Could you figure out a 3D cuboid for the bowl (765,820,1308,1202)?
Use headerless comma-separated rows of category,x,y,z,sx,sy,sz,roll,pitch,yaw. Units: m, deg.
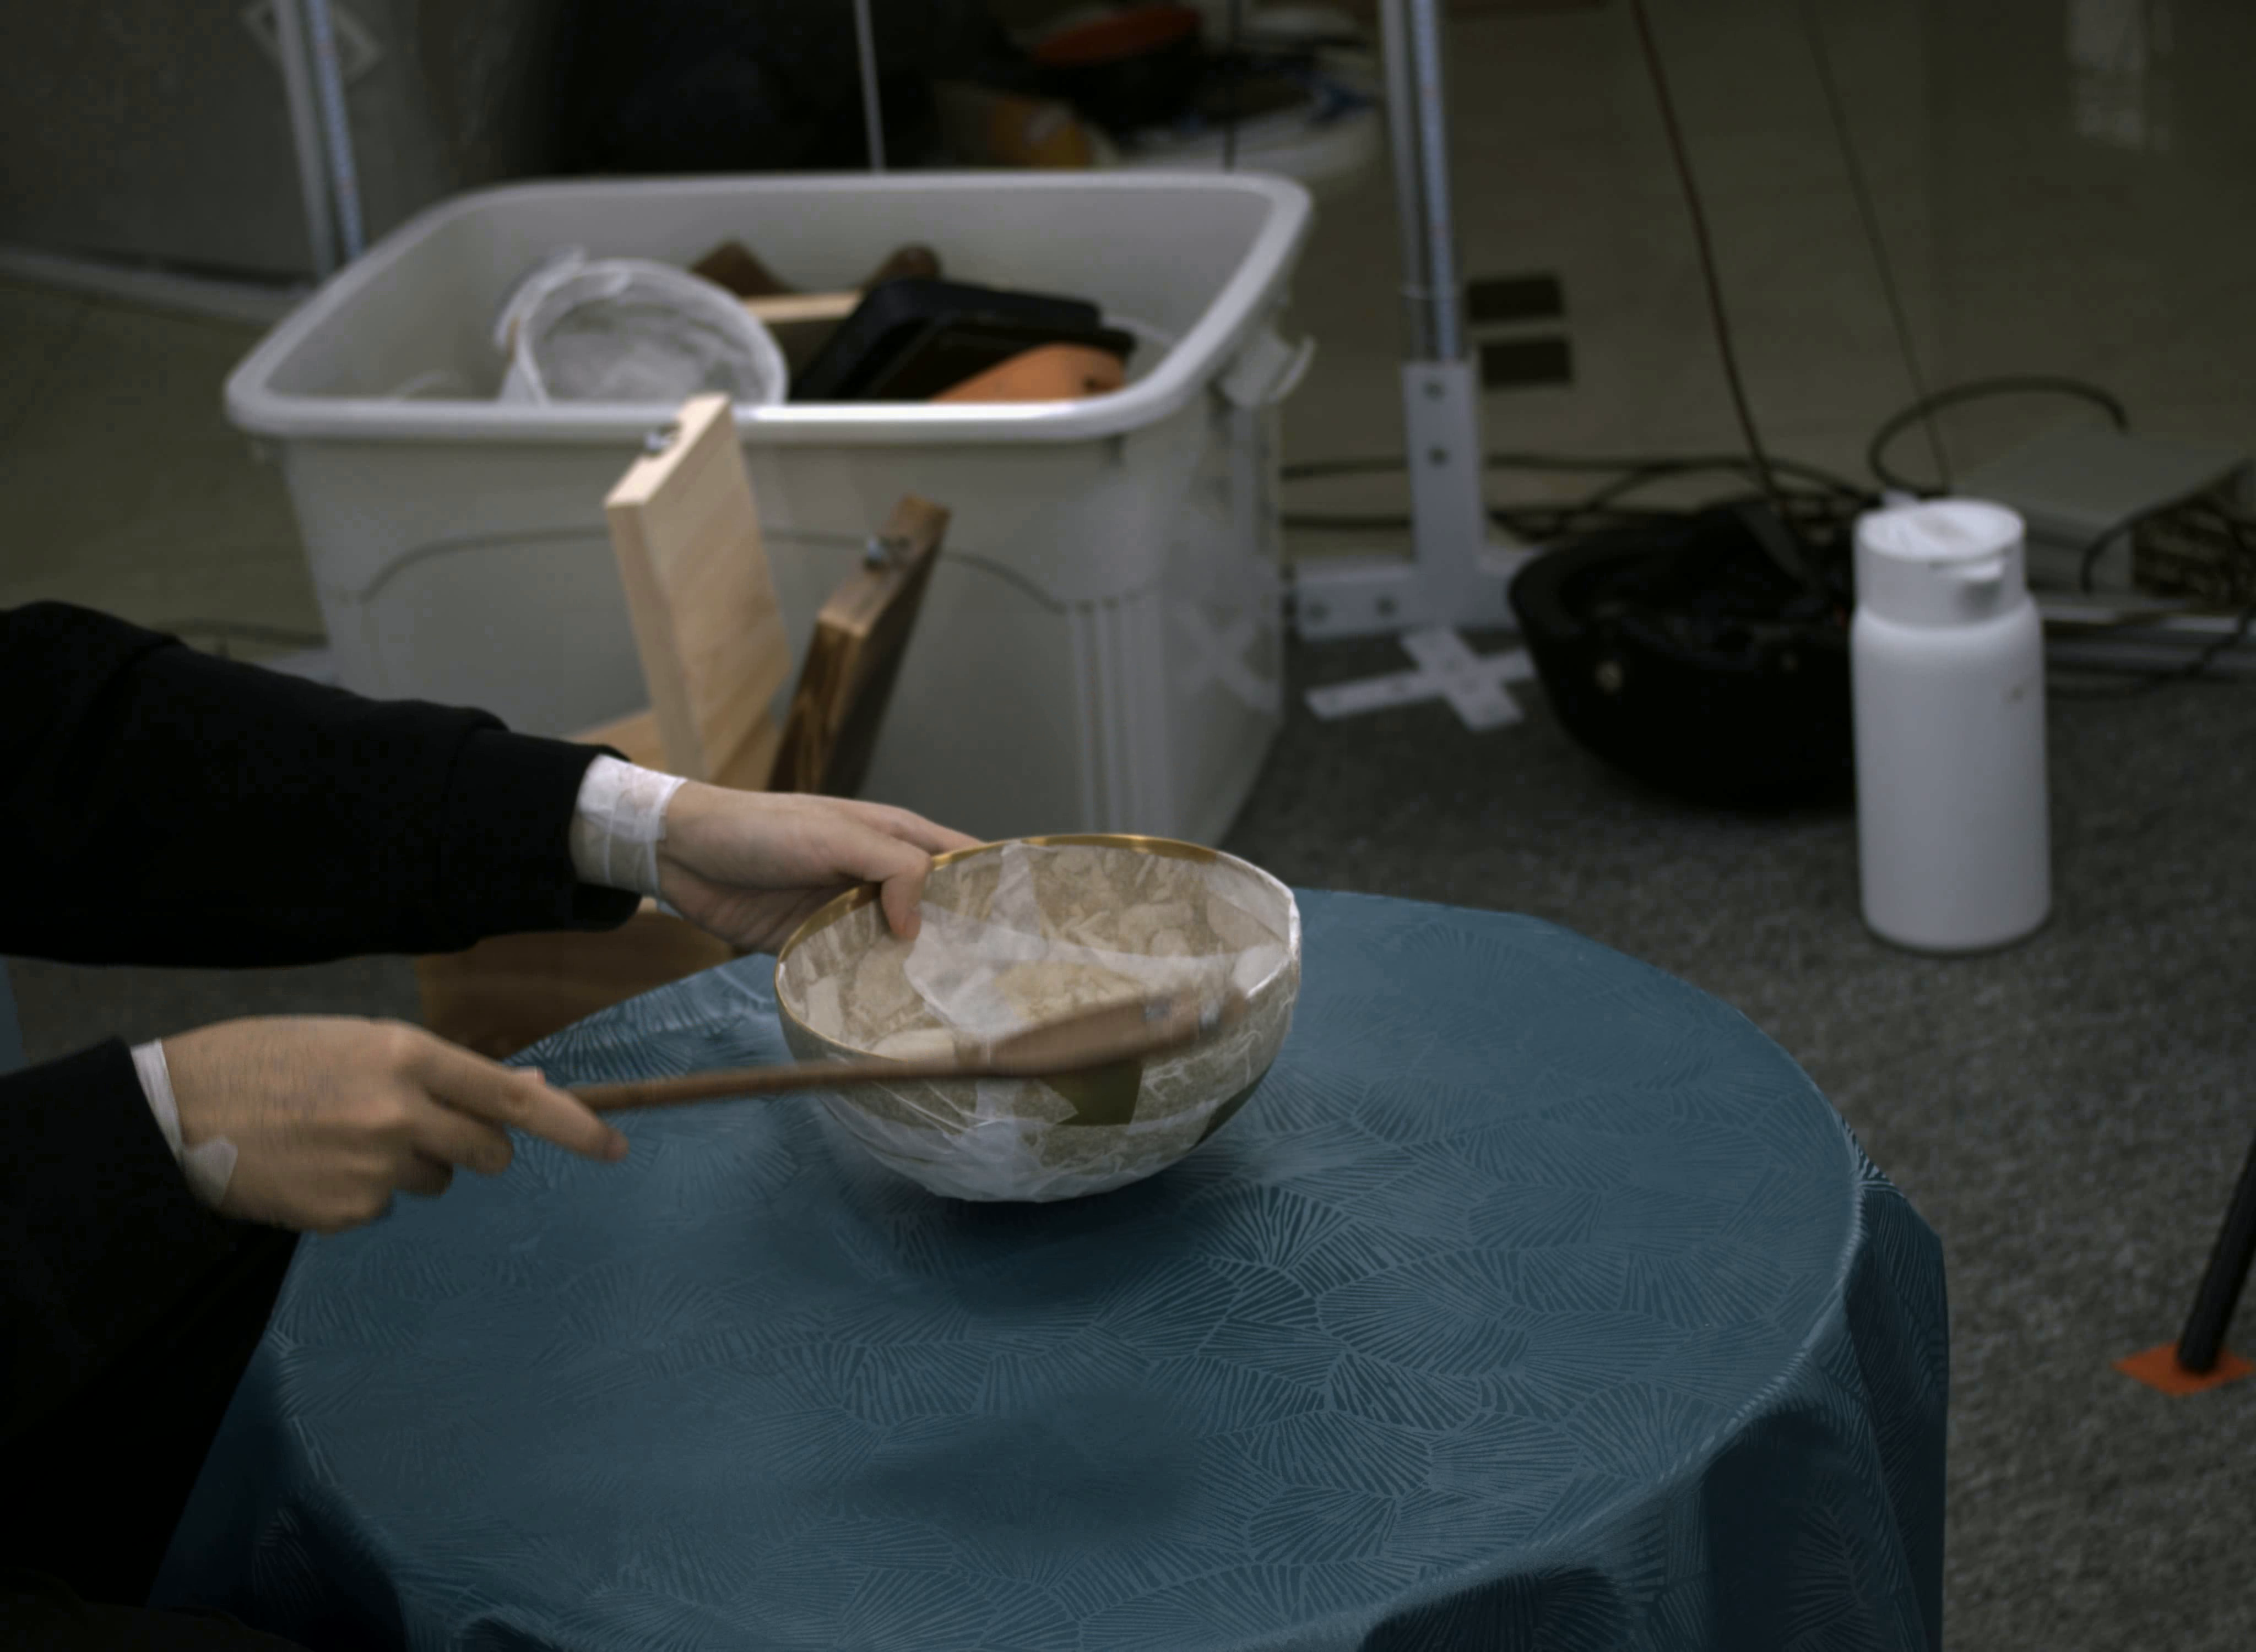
bowl,-0.031,0.083,2.166,0.214,0.096,0.211,-6,26,3

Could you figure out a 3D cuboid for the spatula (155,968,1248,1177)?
spatula,-0.149,0.086,1.960,0.385,0.016,0.095,-8,7,3
